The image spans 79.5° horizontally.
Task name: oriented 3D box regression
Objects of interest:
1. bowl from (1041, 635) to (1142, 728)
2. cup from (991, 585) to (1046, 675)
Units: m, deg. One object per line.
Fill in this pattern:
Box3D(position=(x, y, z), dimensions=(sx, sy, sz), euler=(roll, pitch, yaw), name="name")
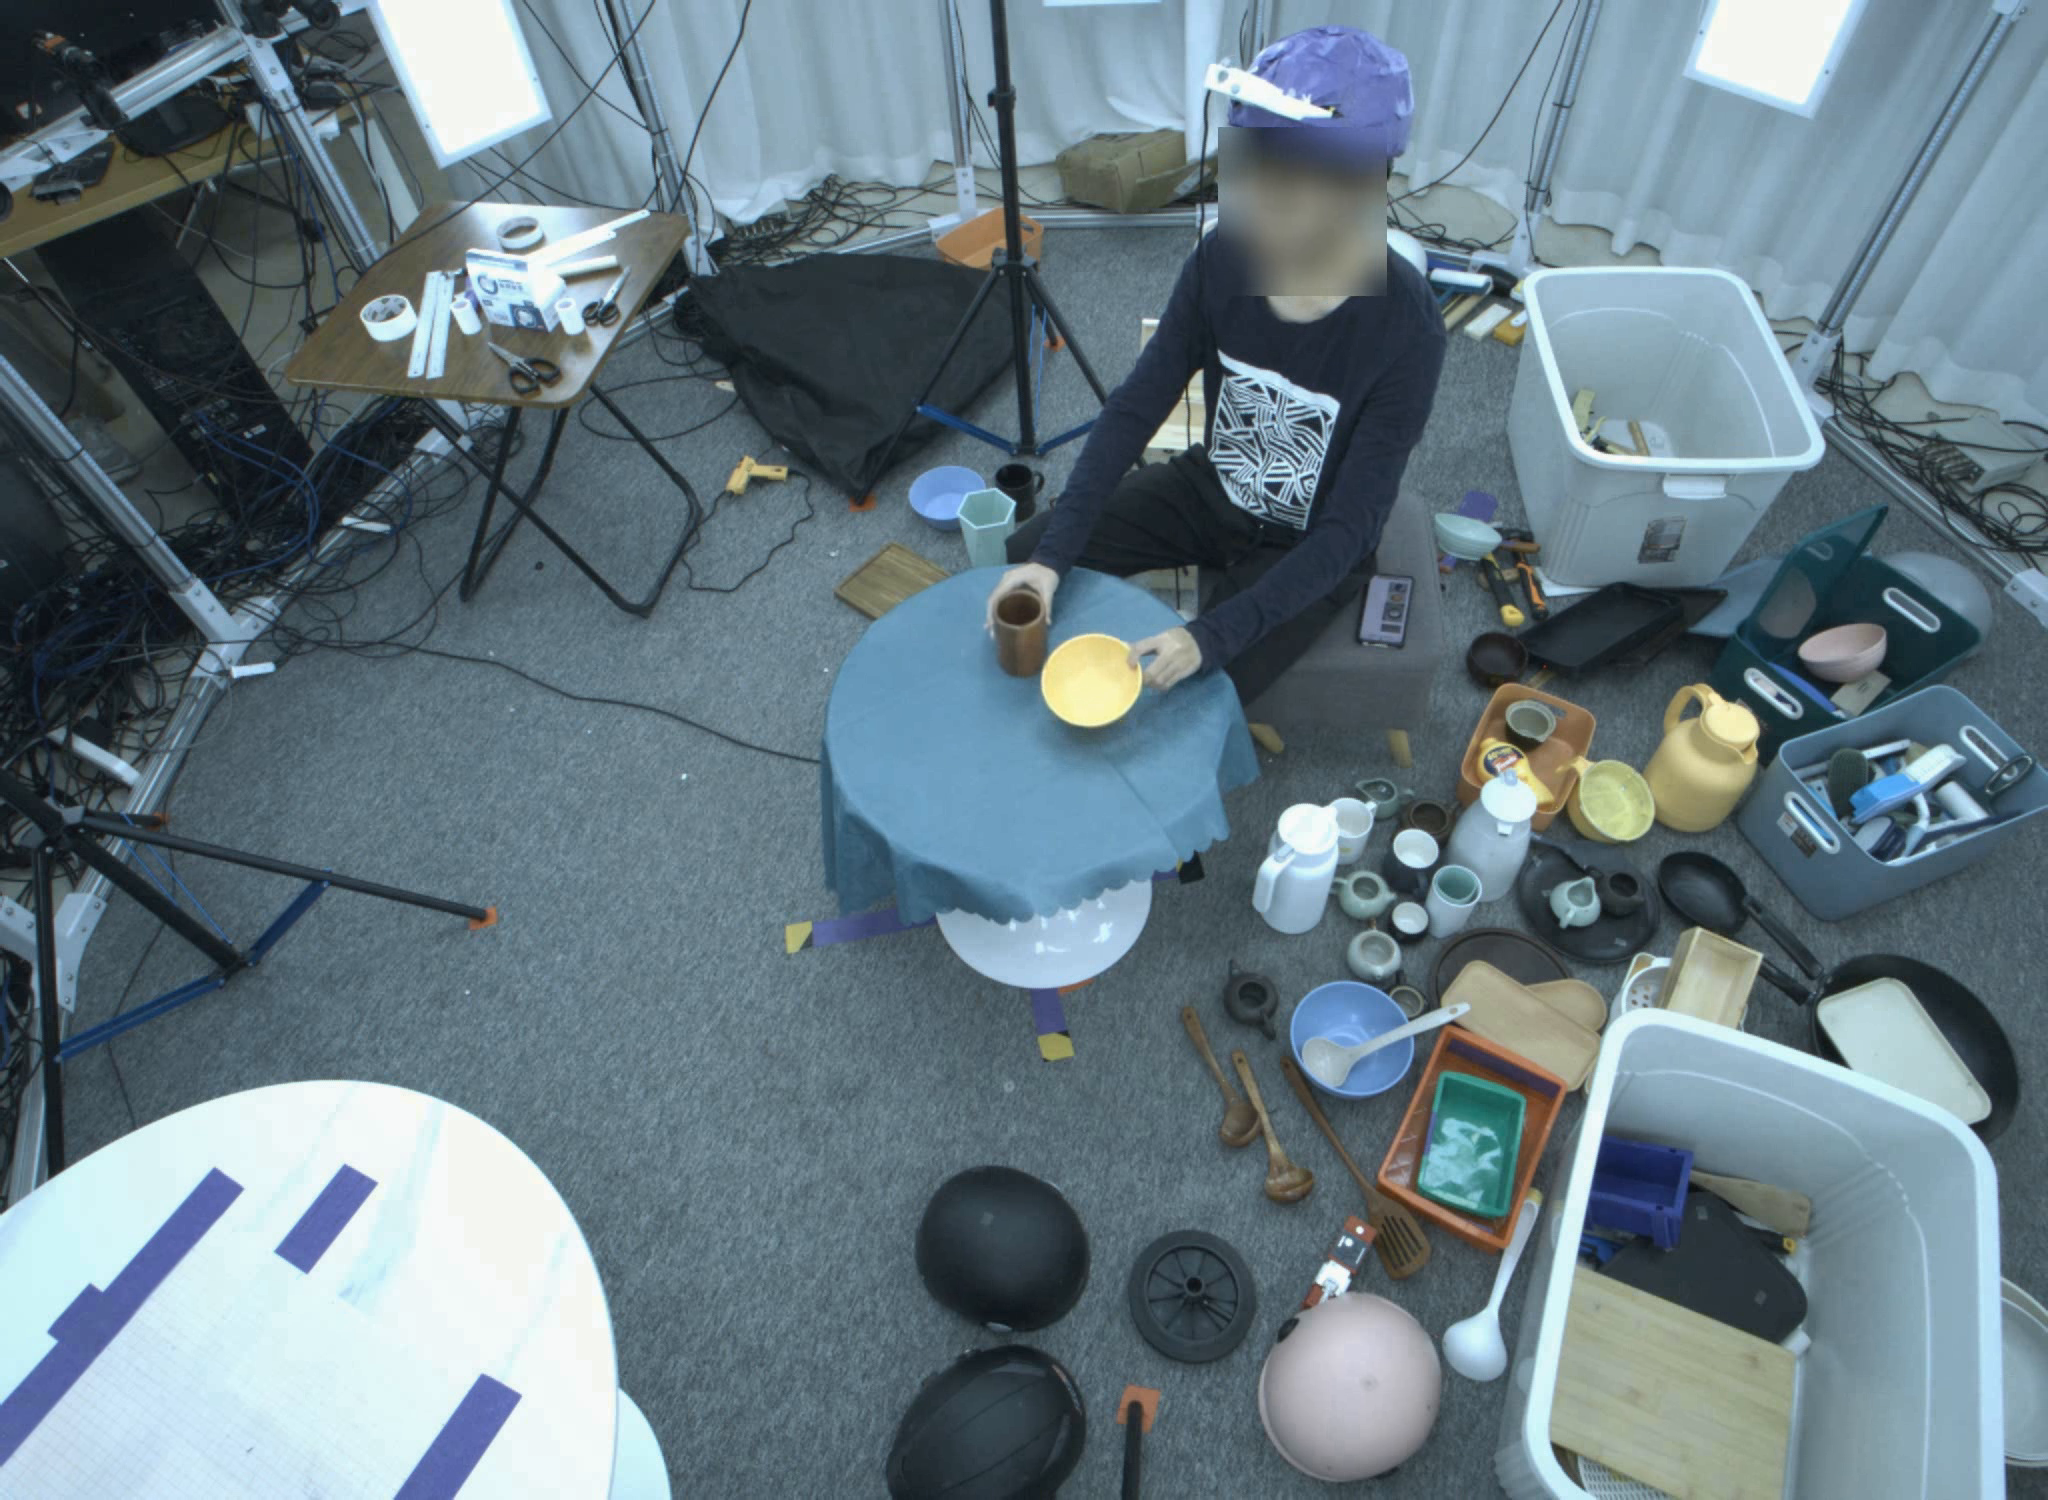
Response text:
Box3D(position=(0.101, -0.089, 1.780), dimensions=(0.144, 0.061, 0.144), euler=(-3, 69, 8), name="bowl")
Box3D(position=(-0.008, -0.179, 1.835), dimensions=(0.088, 0.119, 0.087), euler=(1, 57, 0), name="cup")
